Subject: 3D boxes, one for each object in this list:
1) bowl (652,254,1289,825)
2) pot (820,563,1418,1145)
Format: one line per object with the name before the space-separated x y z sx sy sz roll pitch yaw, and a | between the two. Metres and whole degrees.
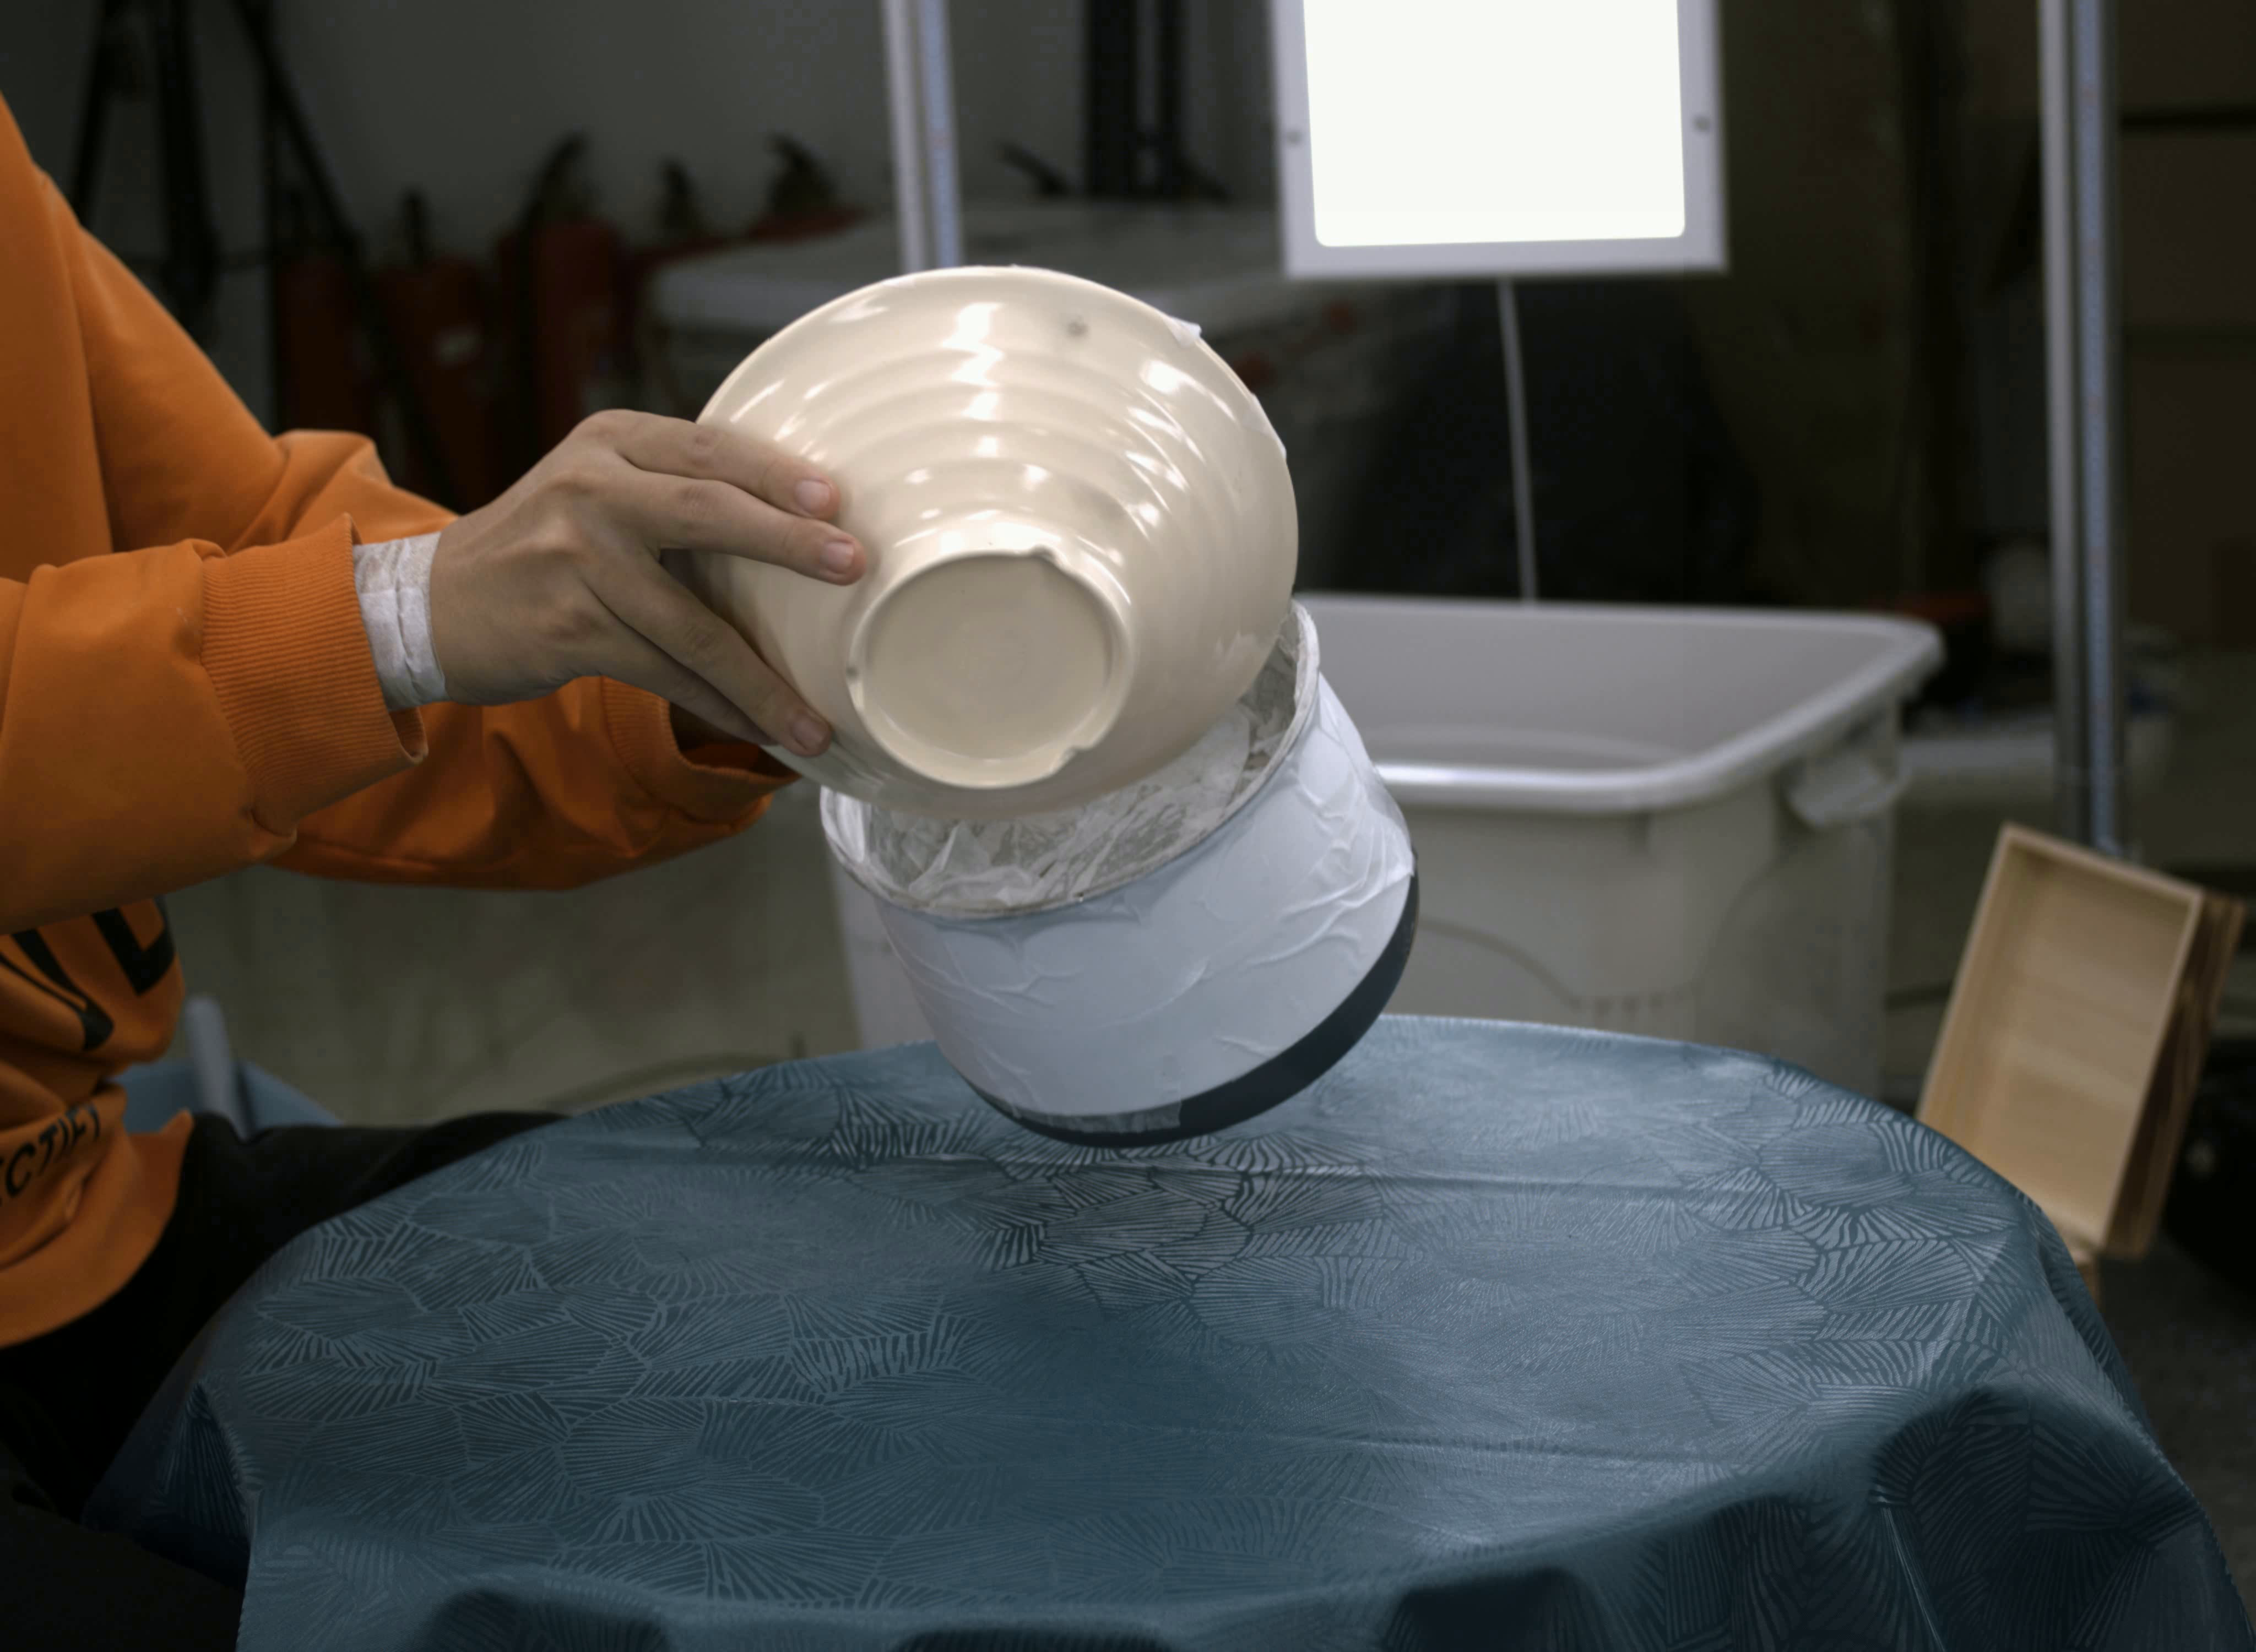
bowl | -0.044 -0.070 1.710 0.203 0.205 0.078 -5 32 -4
pot | -0.014 -0.003 1.869 0.177 0.136 0.237 -38 40 -14
